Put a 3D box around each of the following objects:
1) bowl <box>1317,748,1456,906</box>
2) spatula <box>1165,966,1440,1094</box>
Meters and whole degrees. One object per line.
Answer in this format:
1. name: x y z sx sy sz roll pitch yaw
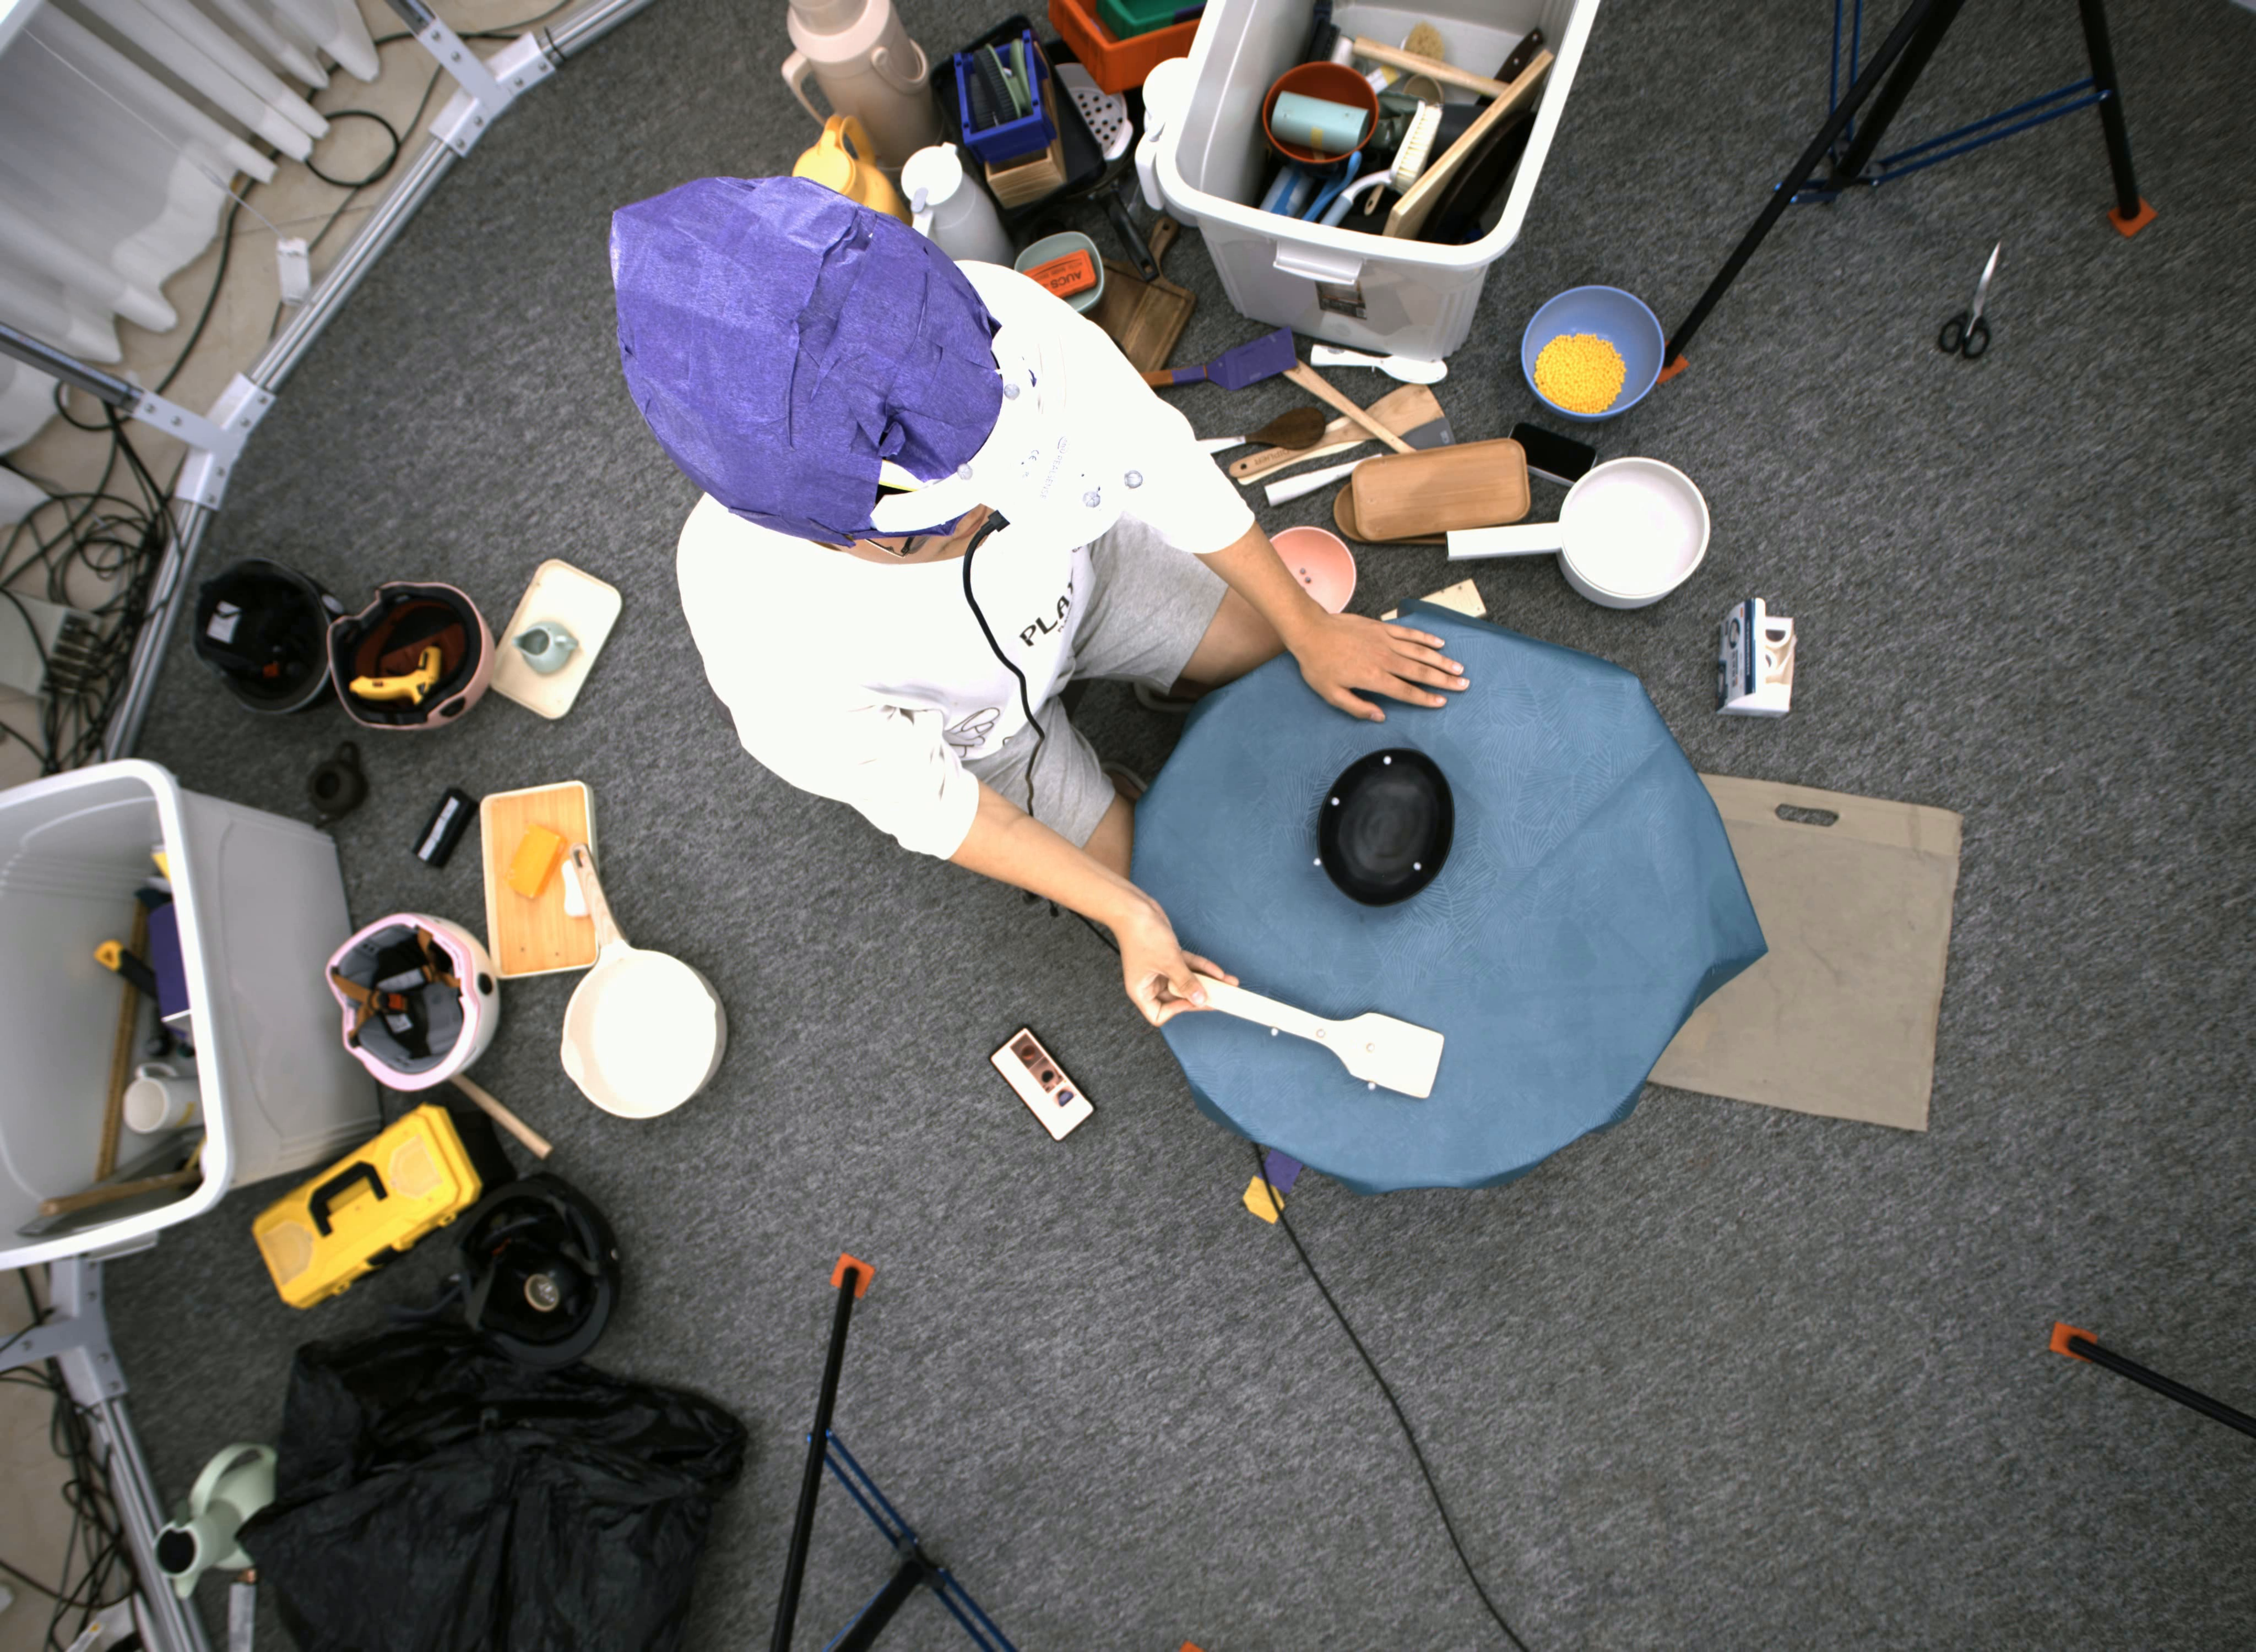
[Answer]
1. bowl: 0.268 0.000 1.432 0.137 0.067 0.170 18 88 12
2. spatula: 0.177 0.201 1.430 0.293 0.011 0.071 18 80 -2
